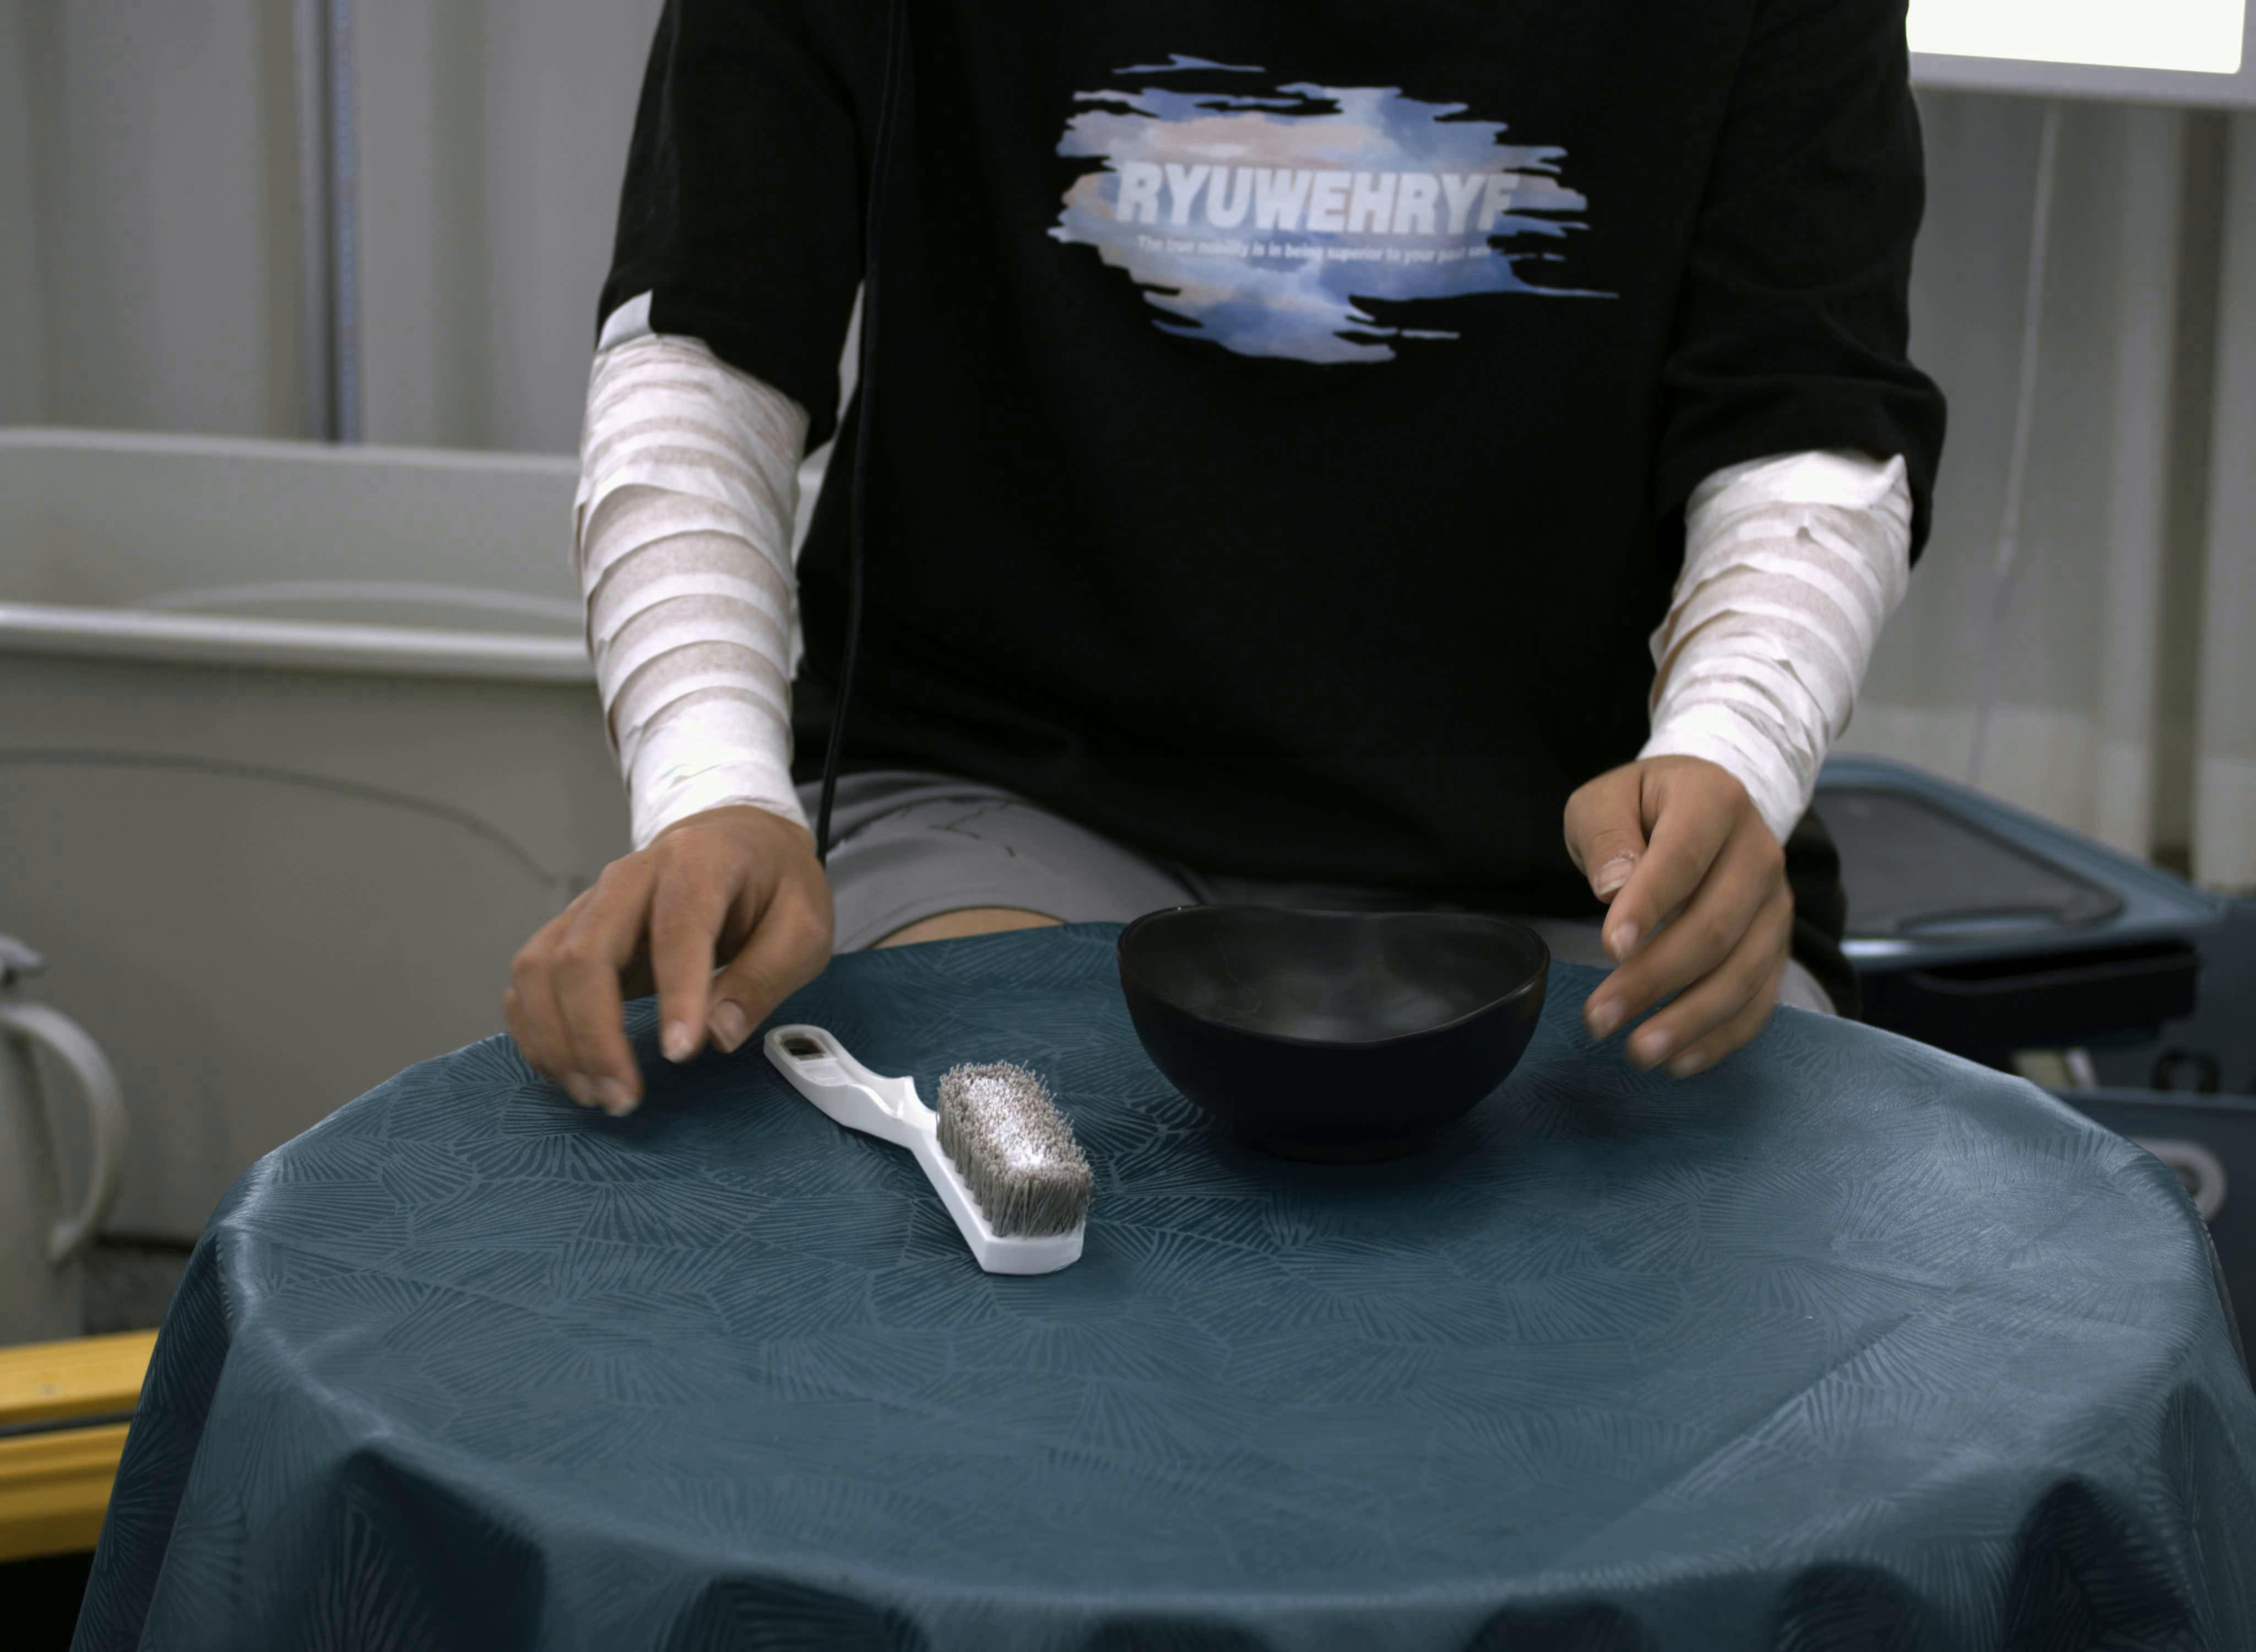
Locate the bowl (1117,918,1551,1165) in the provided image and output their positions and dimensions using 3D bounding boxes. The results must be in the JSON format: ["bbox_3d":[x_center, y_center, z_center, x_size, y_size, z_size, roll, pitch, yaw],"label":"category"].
[{"bbox_3d":[0.065,0.068,1.671,0.137,0.067,0.169,2,13,3],"label":"bowl"}]

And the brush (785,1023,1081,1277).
[{"bbox_3d":[-0.066,0.081,1.643,0.034,0.050,0.241,-7,17,-18],"label":"brush"}]
